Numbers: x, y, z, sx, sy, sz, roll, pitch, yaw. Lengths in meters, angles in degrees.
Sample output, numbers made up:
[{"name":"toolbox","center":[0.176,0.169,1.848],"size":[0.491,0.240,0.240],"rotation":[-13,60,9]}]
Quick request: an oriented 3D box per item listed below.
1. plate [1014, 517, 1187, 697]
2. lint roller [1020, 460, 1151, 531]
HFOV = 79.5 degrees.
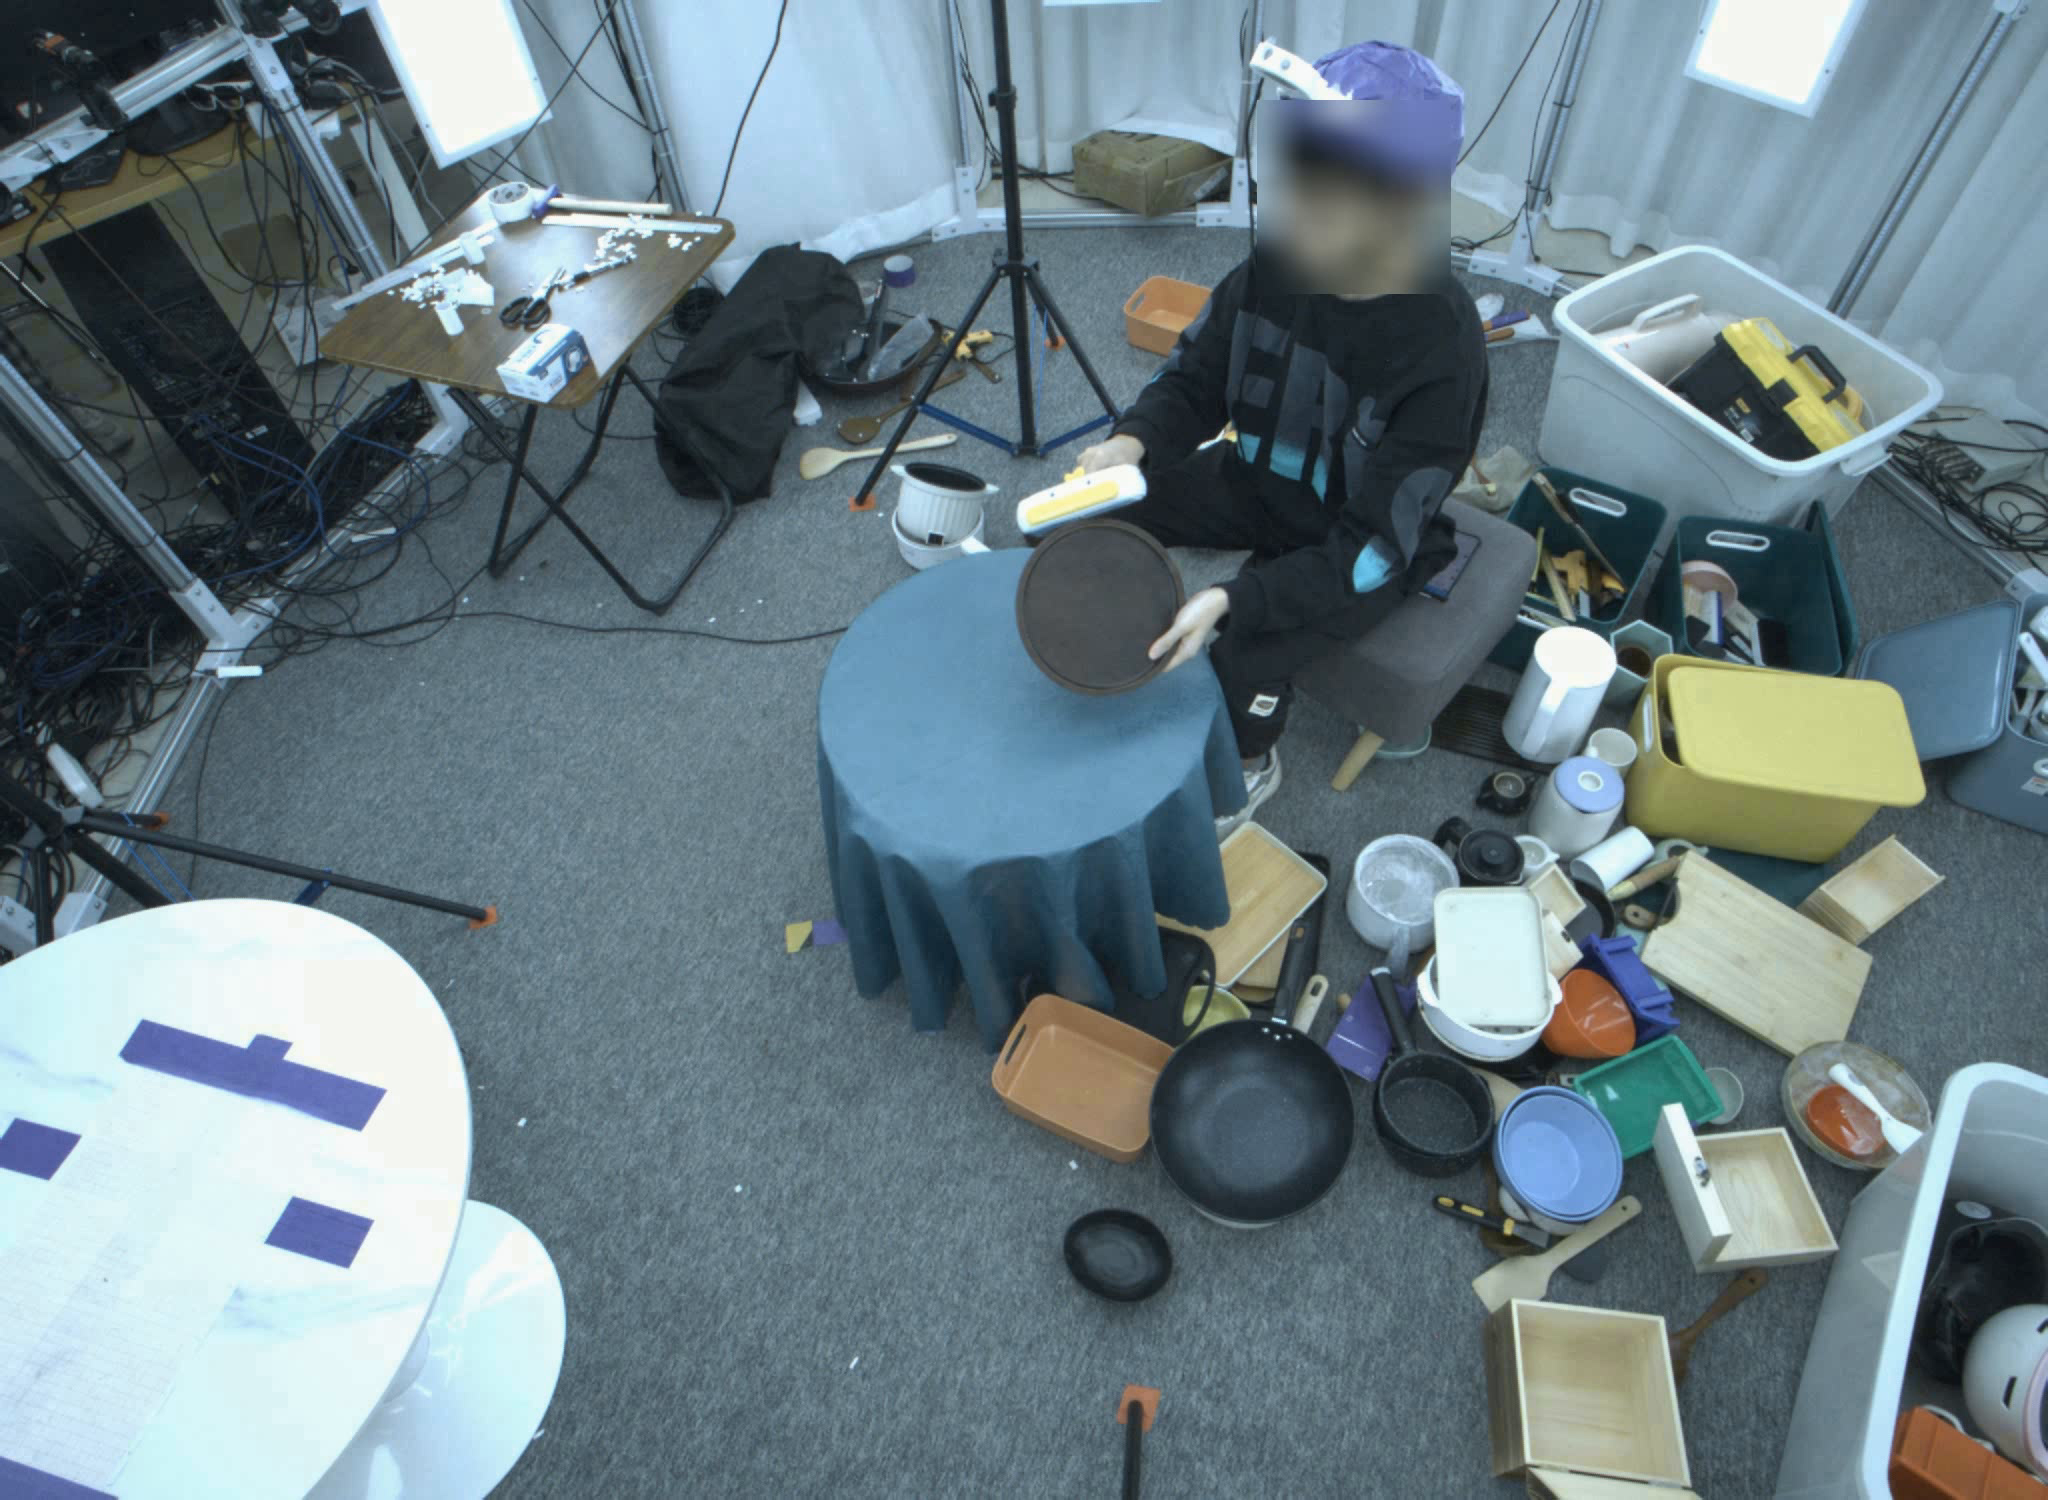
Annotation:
[{"name":"plate","center":[0.108,-0.202,1.742],"size":[0.258,0.028,0.255],"rotation":[-1,93,-16]},{"name":"lint roller","center":[0.100,-0.377,1.770],"size":[0.190,0.074,0.194],"rotation":[-20,8,24]}]
